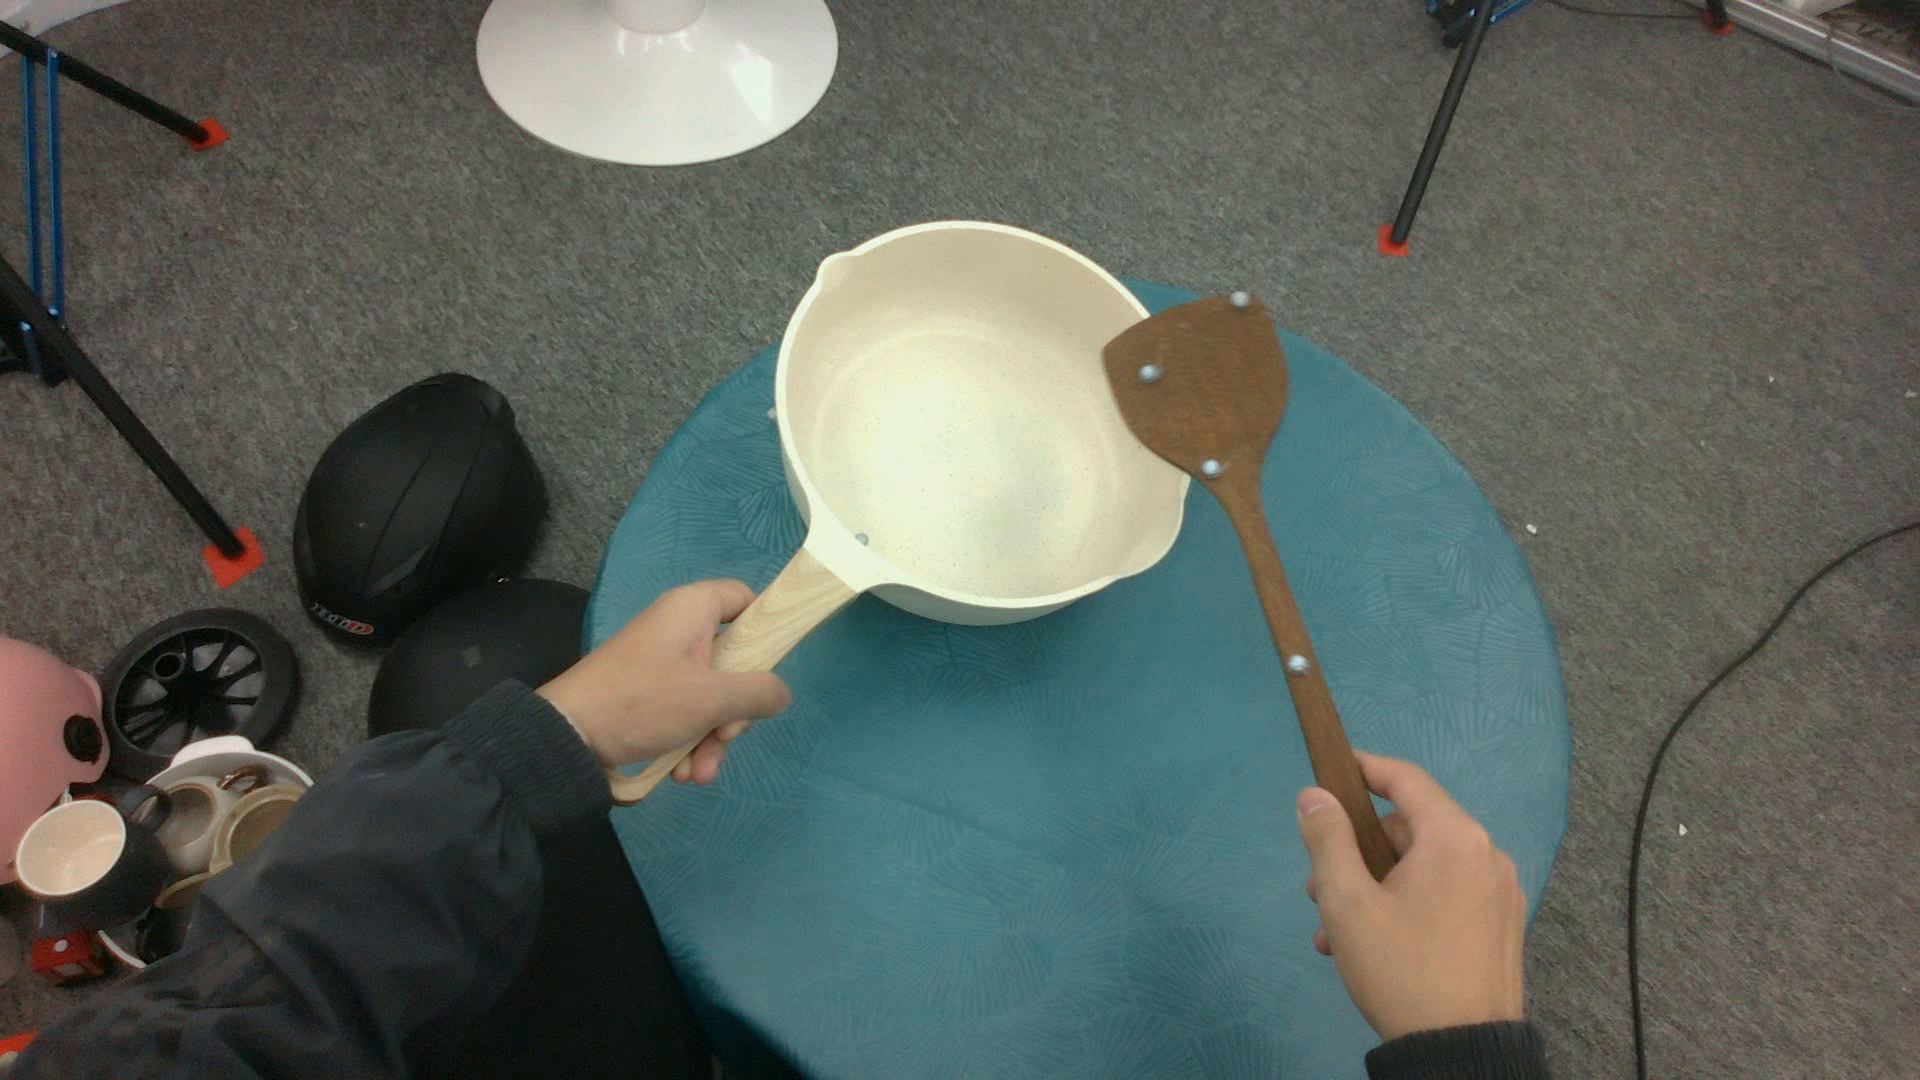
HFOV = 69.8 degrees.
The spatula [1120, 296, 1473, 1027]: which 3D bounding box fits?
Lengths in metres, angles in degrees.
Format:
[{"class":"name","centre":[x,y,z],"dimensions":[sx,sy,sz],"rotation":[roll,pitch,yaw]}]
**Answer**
[{"class":"spatula","centre":[0.171,0.041,0.680],"dimensions":[0.096,0.016,0.387],"rotation":[-18,63,7]}]

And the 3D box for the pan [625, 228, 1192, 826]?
[{"class":"pan","centre":[-0.041,-0.003,0.795],"dimensions":[0.263,0.101,0.437],"rotation":[38,63,4]}]
